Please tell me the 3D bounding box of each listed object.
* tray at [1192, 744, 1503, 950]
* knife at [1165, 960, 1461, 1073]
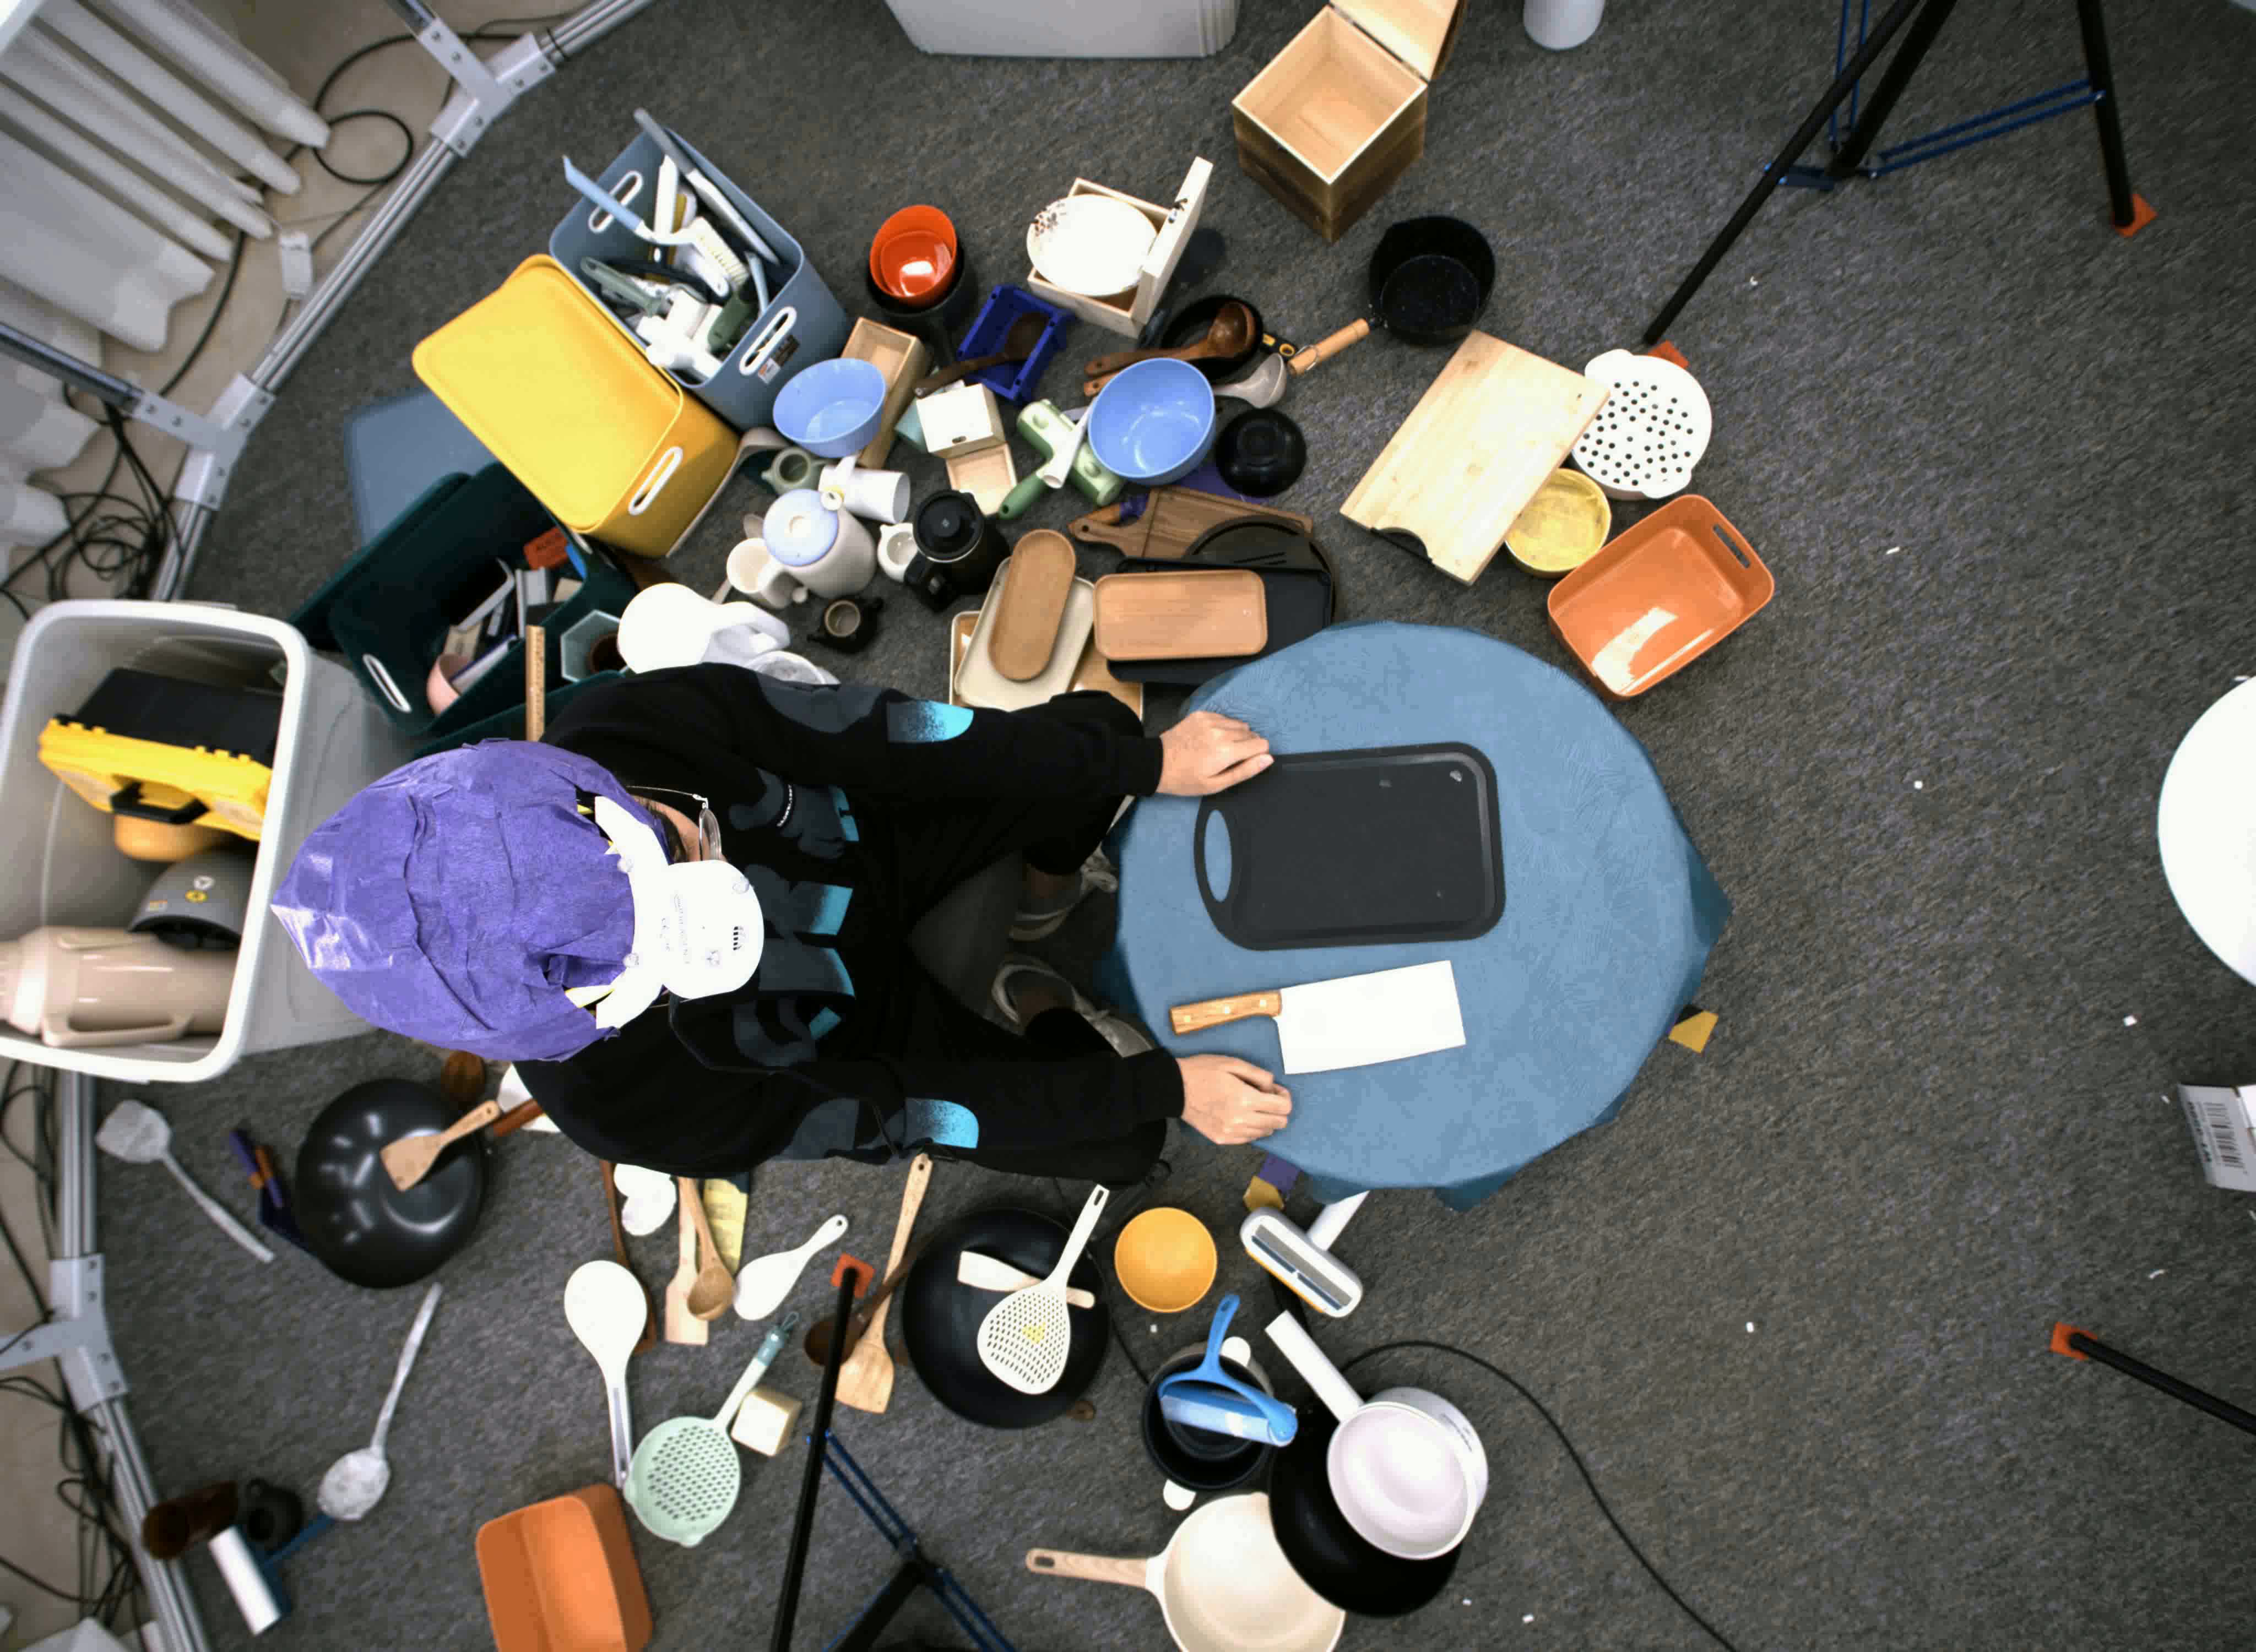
[{"bbox_3d":[0.230,0.022,1.466,0.327,0.010,0.210,-3,86,10],"label":"tray"},{"bbox_3d":[0.195,0.208,1.459,0.307,0.021,0.092,-11,86,8],"label":"knife"}]
